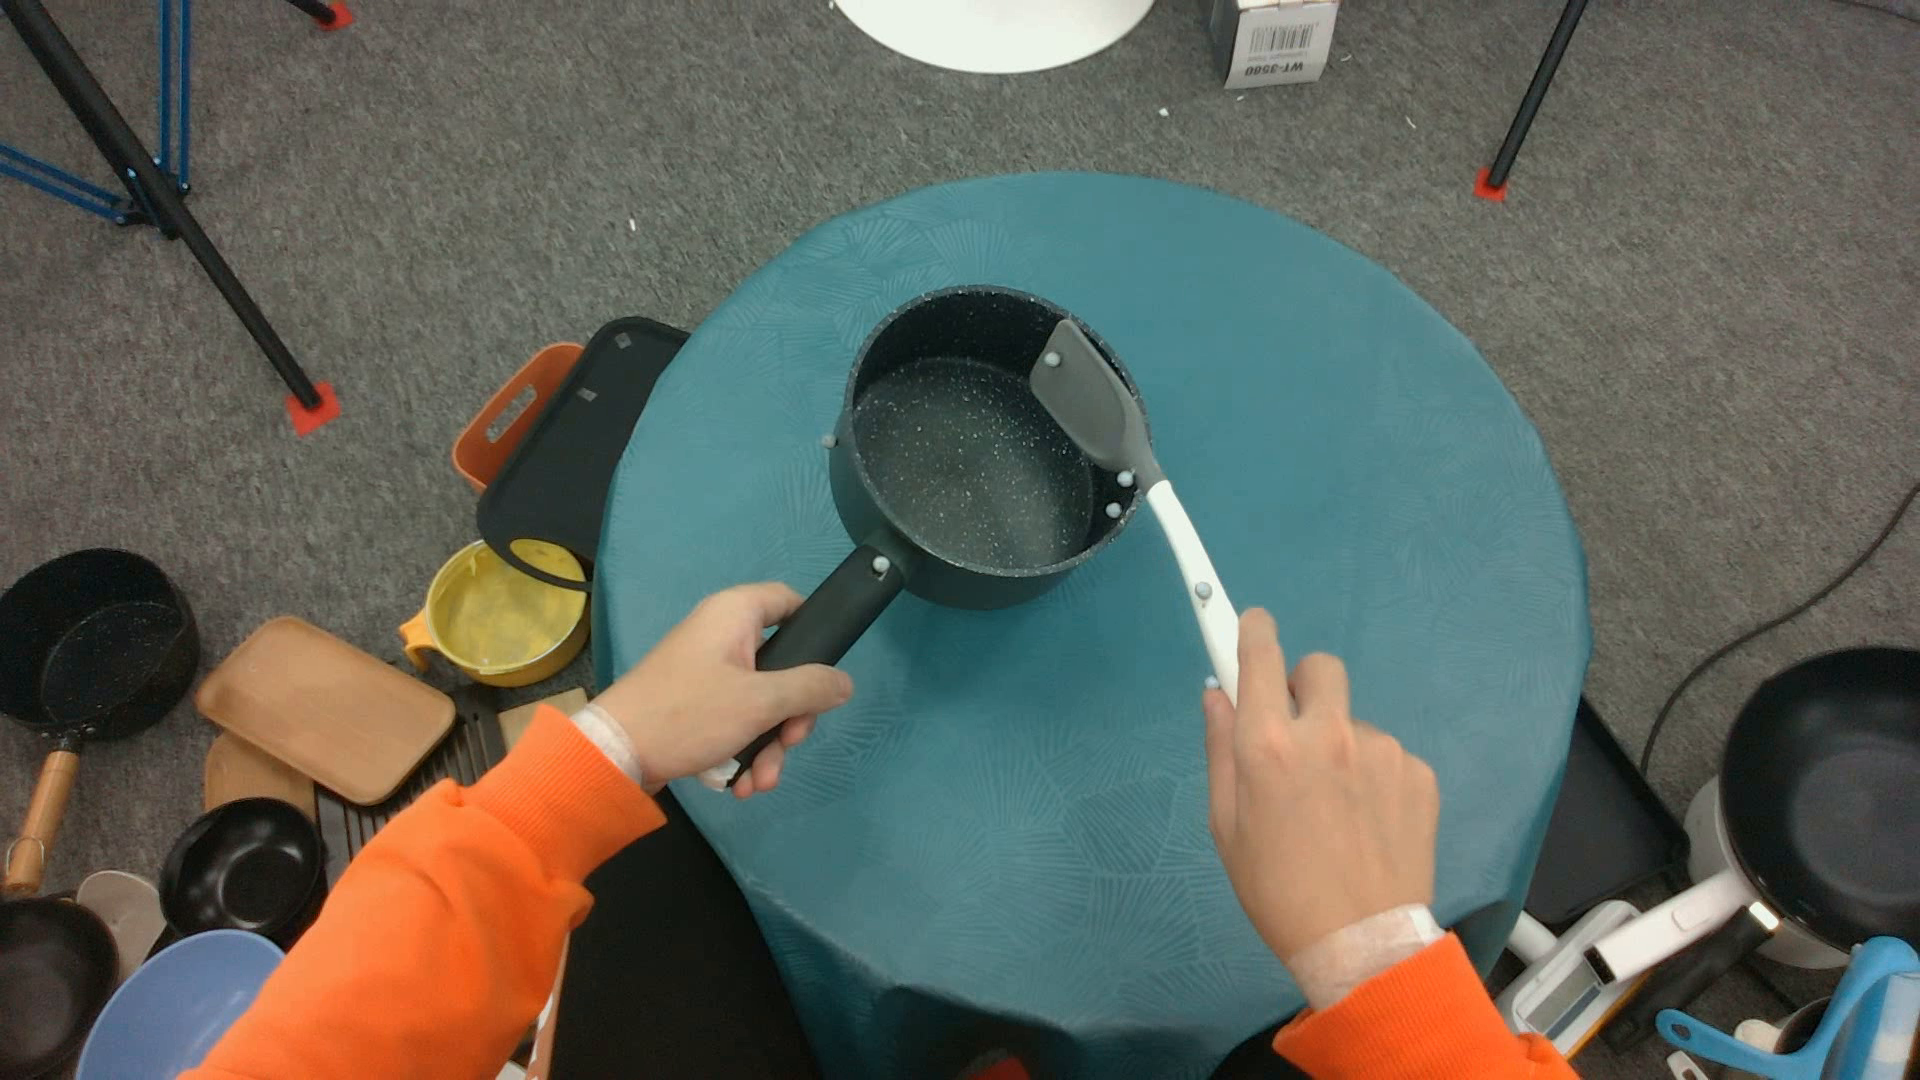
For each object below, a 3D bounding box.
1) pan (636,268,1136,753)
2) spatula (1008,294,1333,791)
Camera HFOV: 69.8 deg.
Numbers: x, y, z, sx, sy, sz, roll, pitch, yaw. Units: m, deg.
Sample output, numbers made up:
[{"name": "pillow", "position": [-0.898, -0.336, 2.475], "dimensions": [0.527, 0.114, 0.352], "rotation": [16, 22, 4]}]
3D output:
[{"name": "pan", "position": [-0.044, -0.006, 0.721], "dimensions": [0.172, 0.086, 0.330], "rotation": [41, 61, 3]}, {"name": "spatula", "position": [0.095, -0.008, 0.675], "dimensions": [0.032, 0.058, 0.288], "rotation": [-5, 52, -29]}]
